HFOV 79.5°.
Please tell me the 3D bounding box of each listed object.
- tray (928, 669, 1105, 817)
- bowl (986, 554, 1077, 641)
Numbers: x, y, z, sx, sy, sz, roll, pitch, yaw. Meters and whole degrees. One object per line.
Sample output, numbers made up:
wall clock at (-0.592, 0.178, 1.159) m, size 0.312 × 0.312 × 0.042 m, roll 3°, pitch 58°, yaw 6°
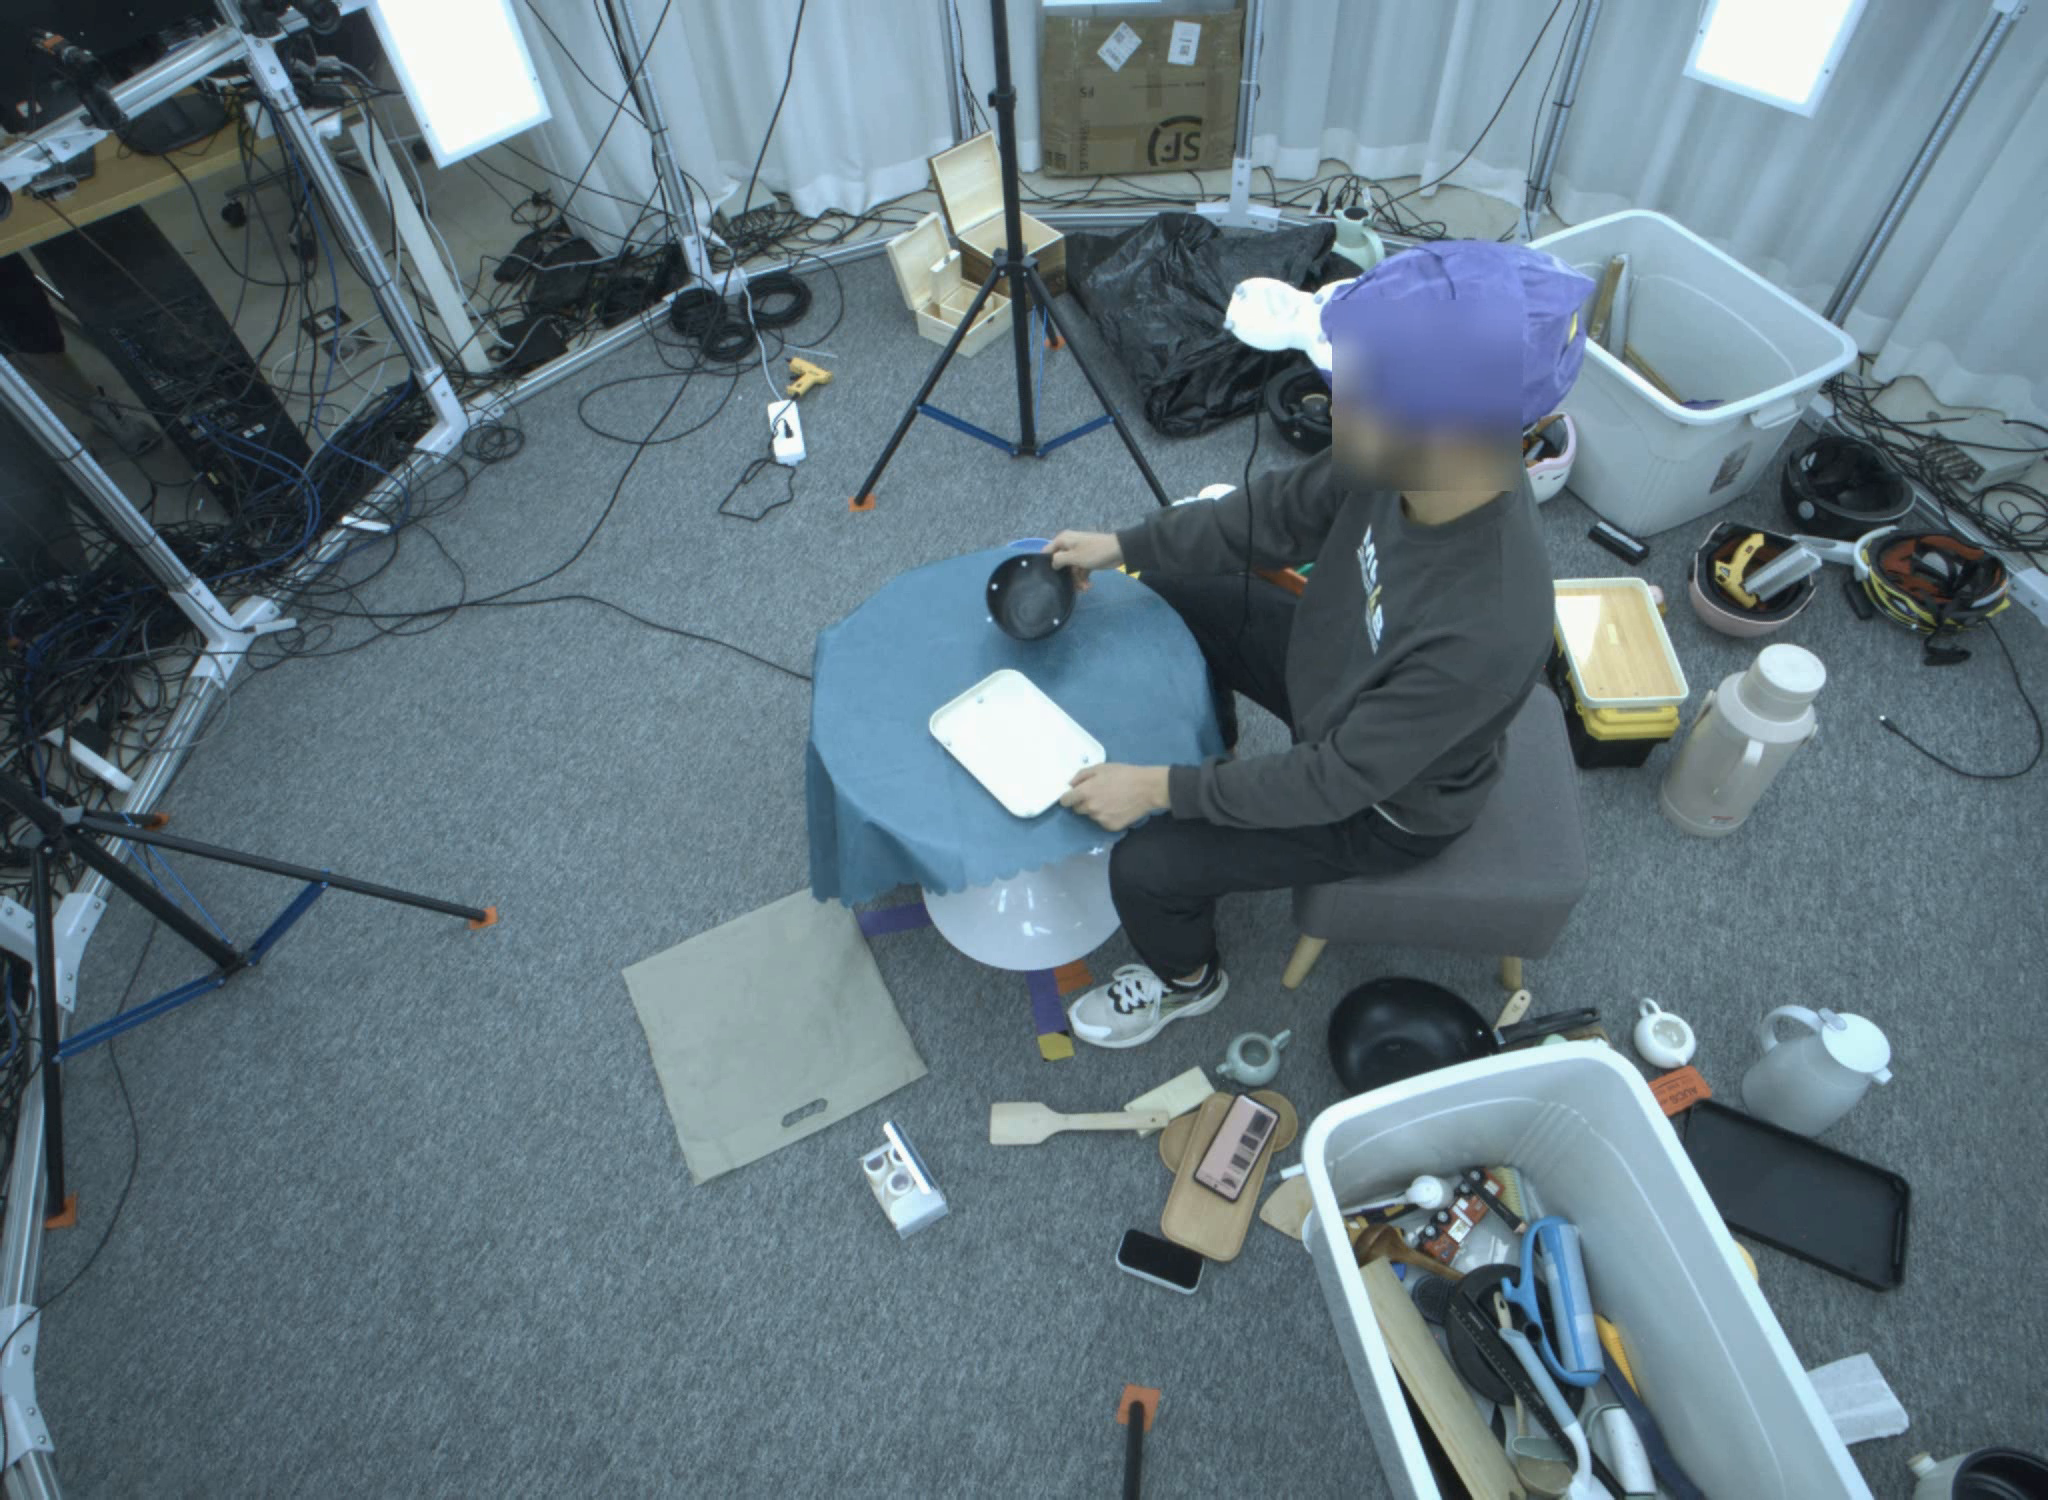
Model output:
tray at (-0.012, -0.012, 1.783) m, size 0.172 × 0.017 × 0.235 m, roll -35°, pitch 61°, yaw -22°
bowl at (0.012, -0.226, 1.874) m, size 0.137 × 0.067 × 0.169 m, roll 7°, pitch 58°, yaw 3°
